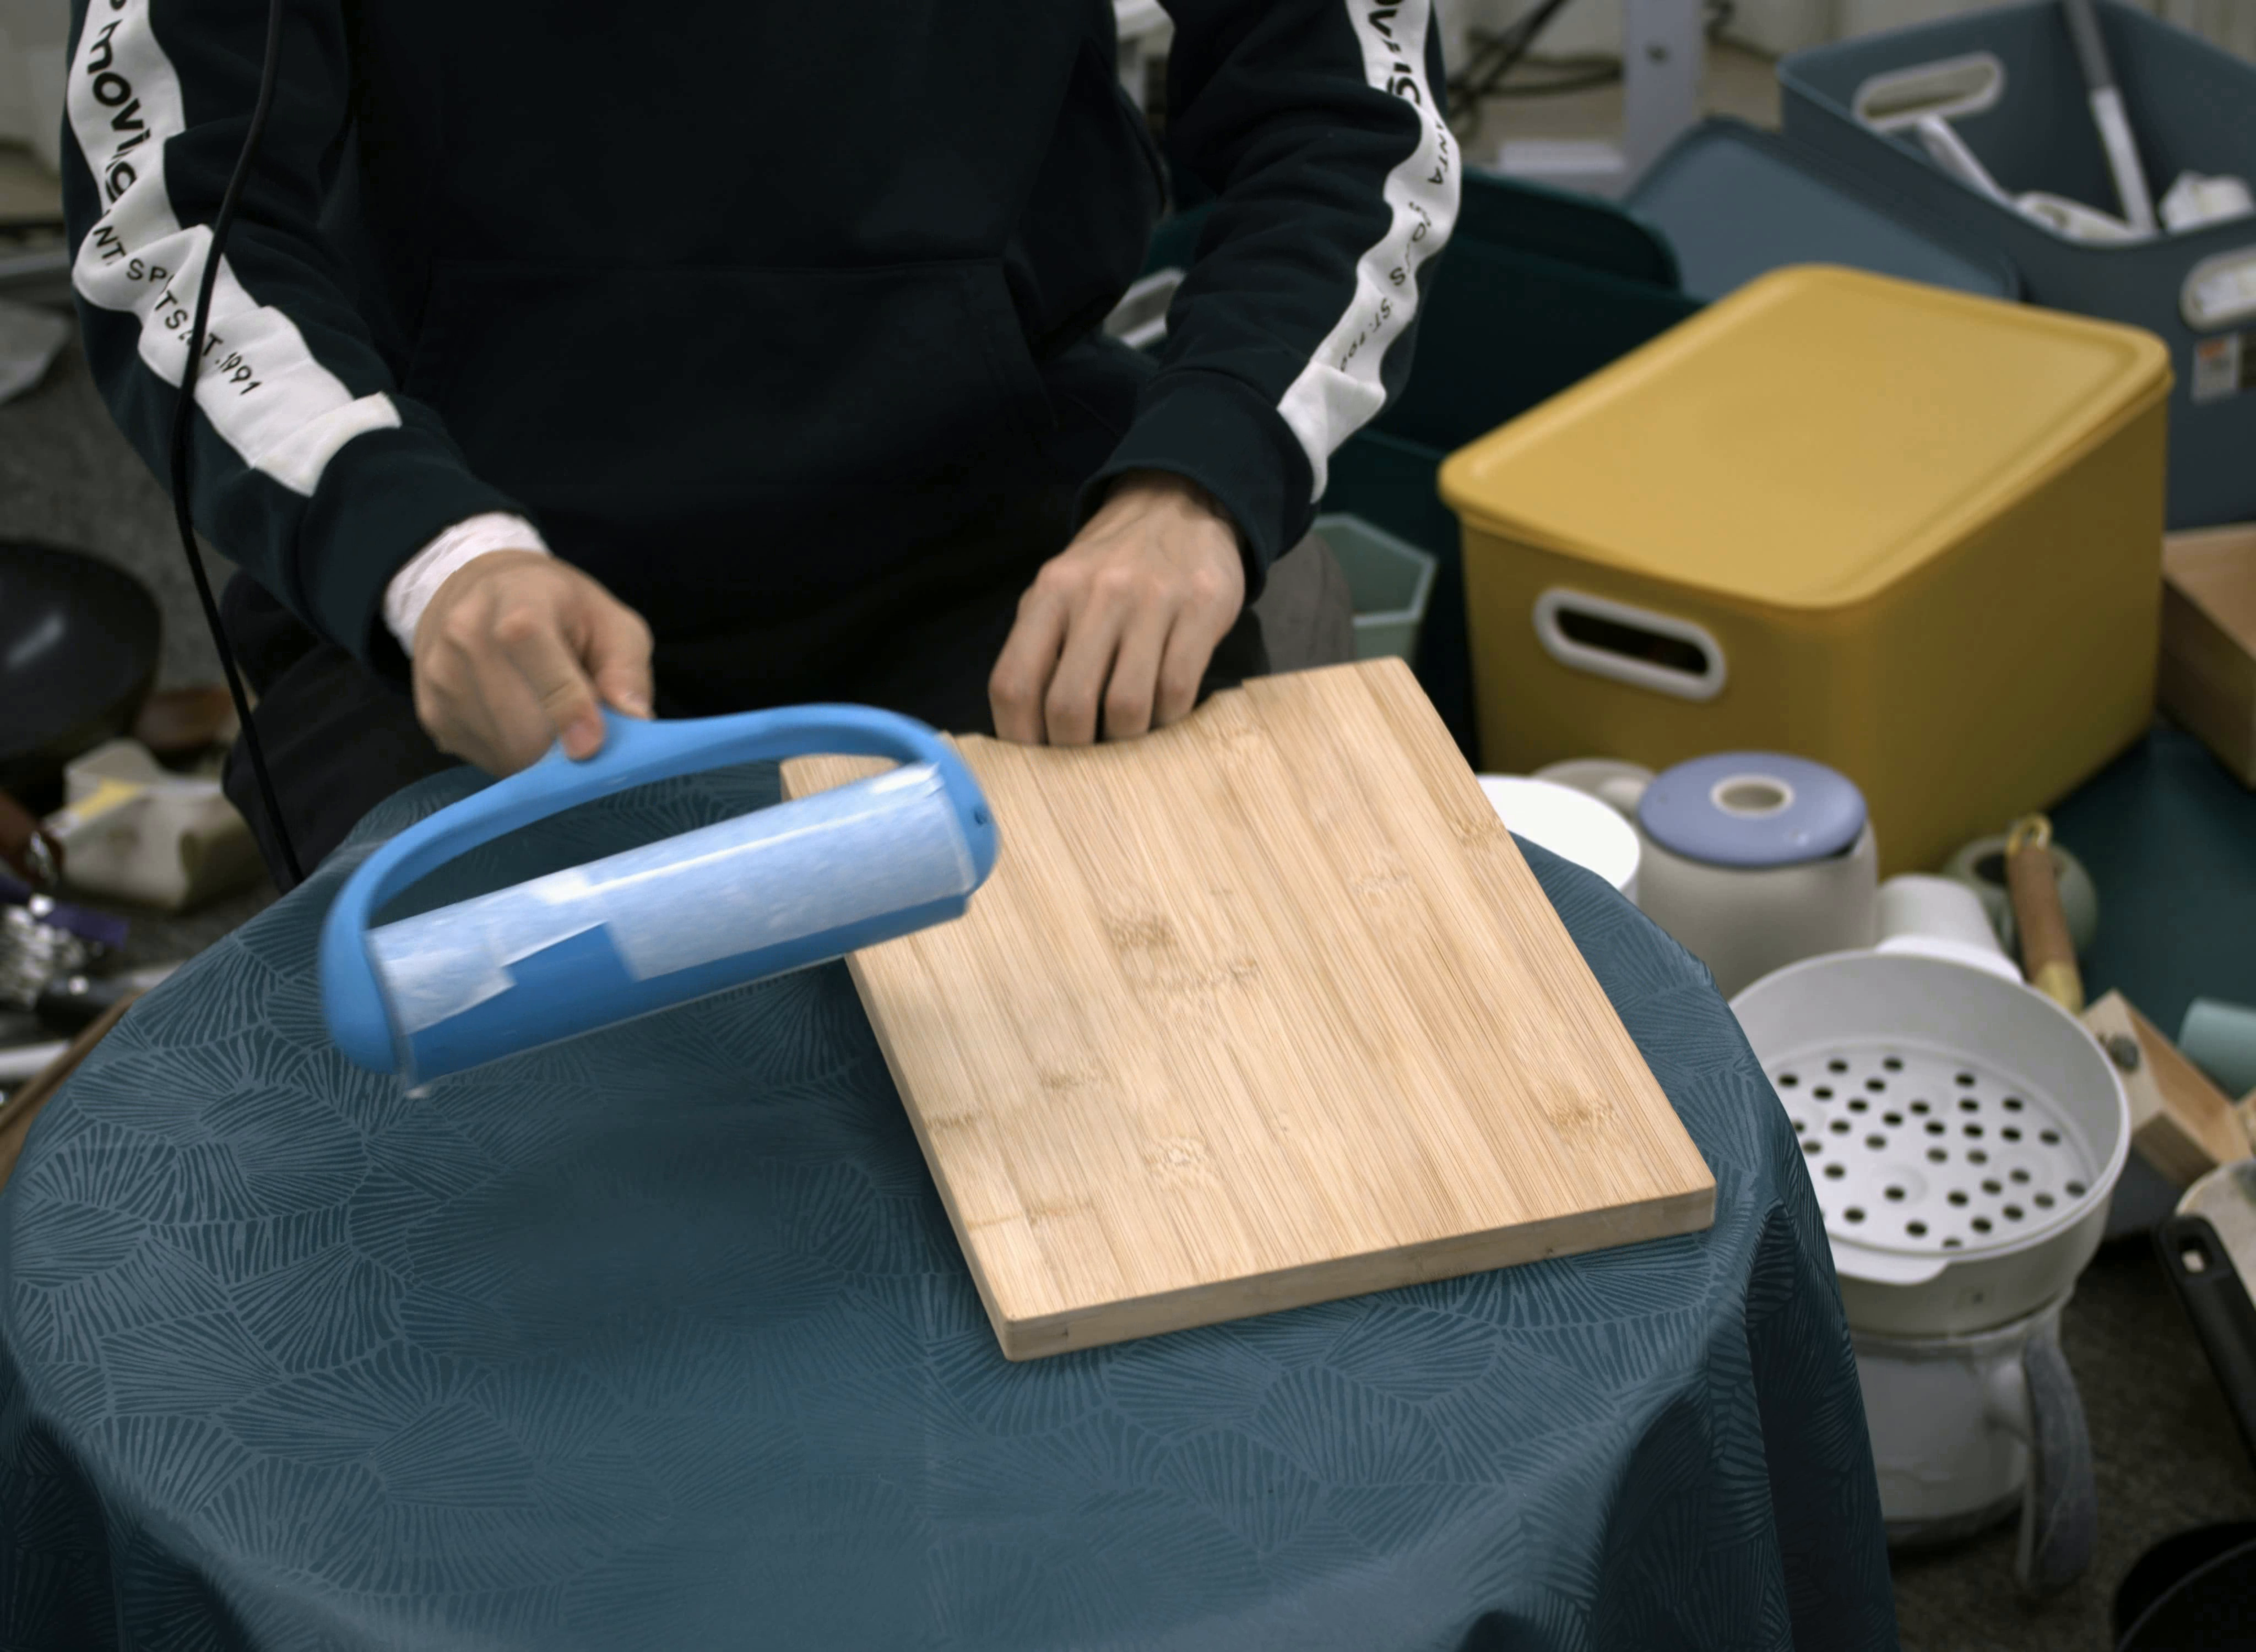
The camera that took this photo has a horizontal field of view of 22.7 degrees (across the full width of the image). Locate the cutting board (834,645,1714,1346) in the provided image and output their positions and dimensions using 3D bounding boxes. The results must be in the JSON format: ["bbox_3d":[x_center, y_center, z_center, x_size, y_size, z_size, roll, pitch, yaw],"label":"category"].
[{"bbox_3d":[0.030,0.051,1.938,0.251,0.023,0.353,-10,34,-13],"label":"cutting board"}]

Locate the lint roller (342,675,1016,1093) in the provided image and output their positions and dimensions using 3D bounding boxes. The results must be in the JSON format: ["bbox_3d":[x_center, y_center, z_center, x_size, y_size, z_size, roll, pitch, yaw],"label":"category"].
[{"bbox_3d":[-0.169,-0.006,1.858,0.230,0.067,0.182,-21,46,-17],"label":"lint roller"}]
